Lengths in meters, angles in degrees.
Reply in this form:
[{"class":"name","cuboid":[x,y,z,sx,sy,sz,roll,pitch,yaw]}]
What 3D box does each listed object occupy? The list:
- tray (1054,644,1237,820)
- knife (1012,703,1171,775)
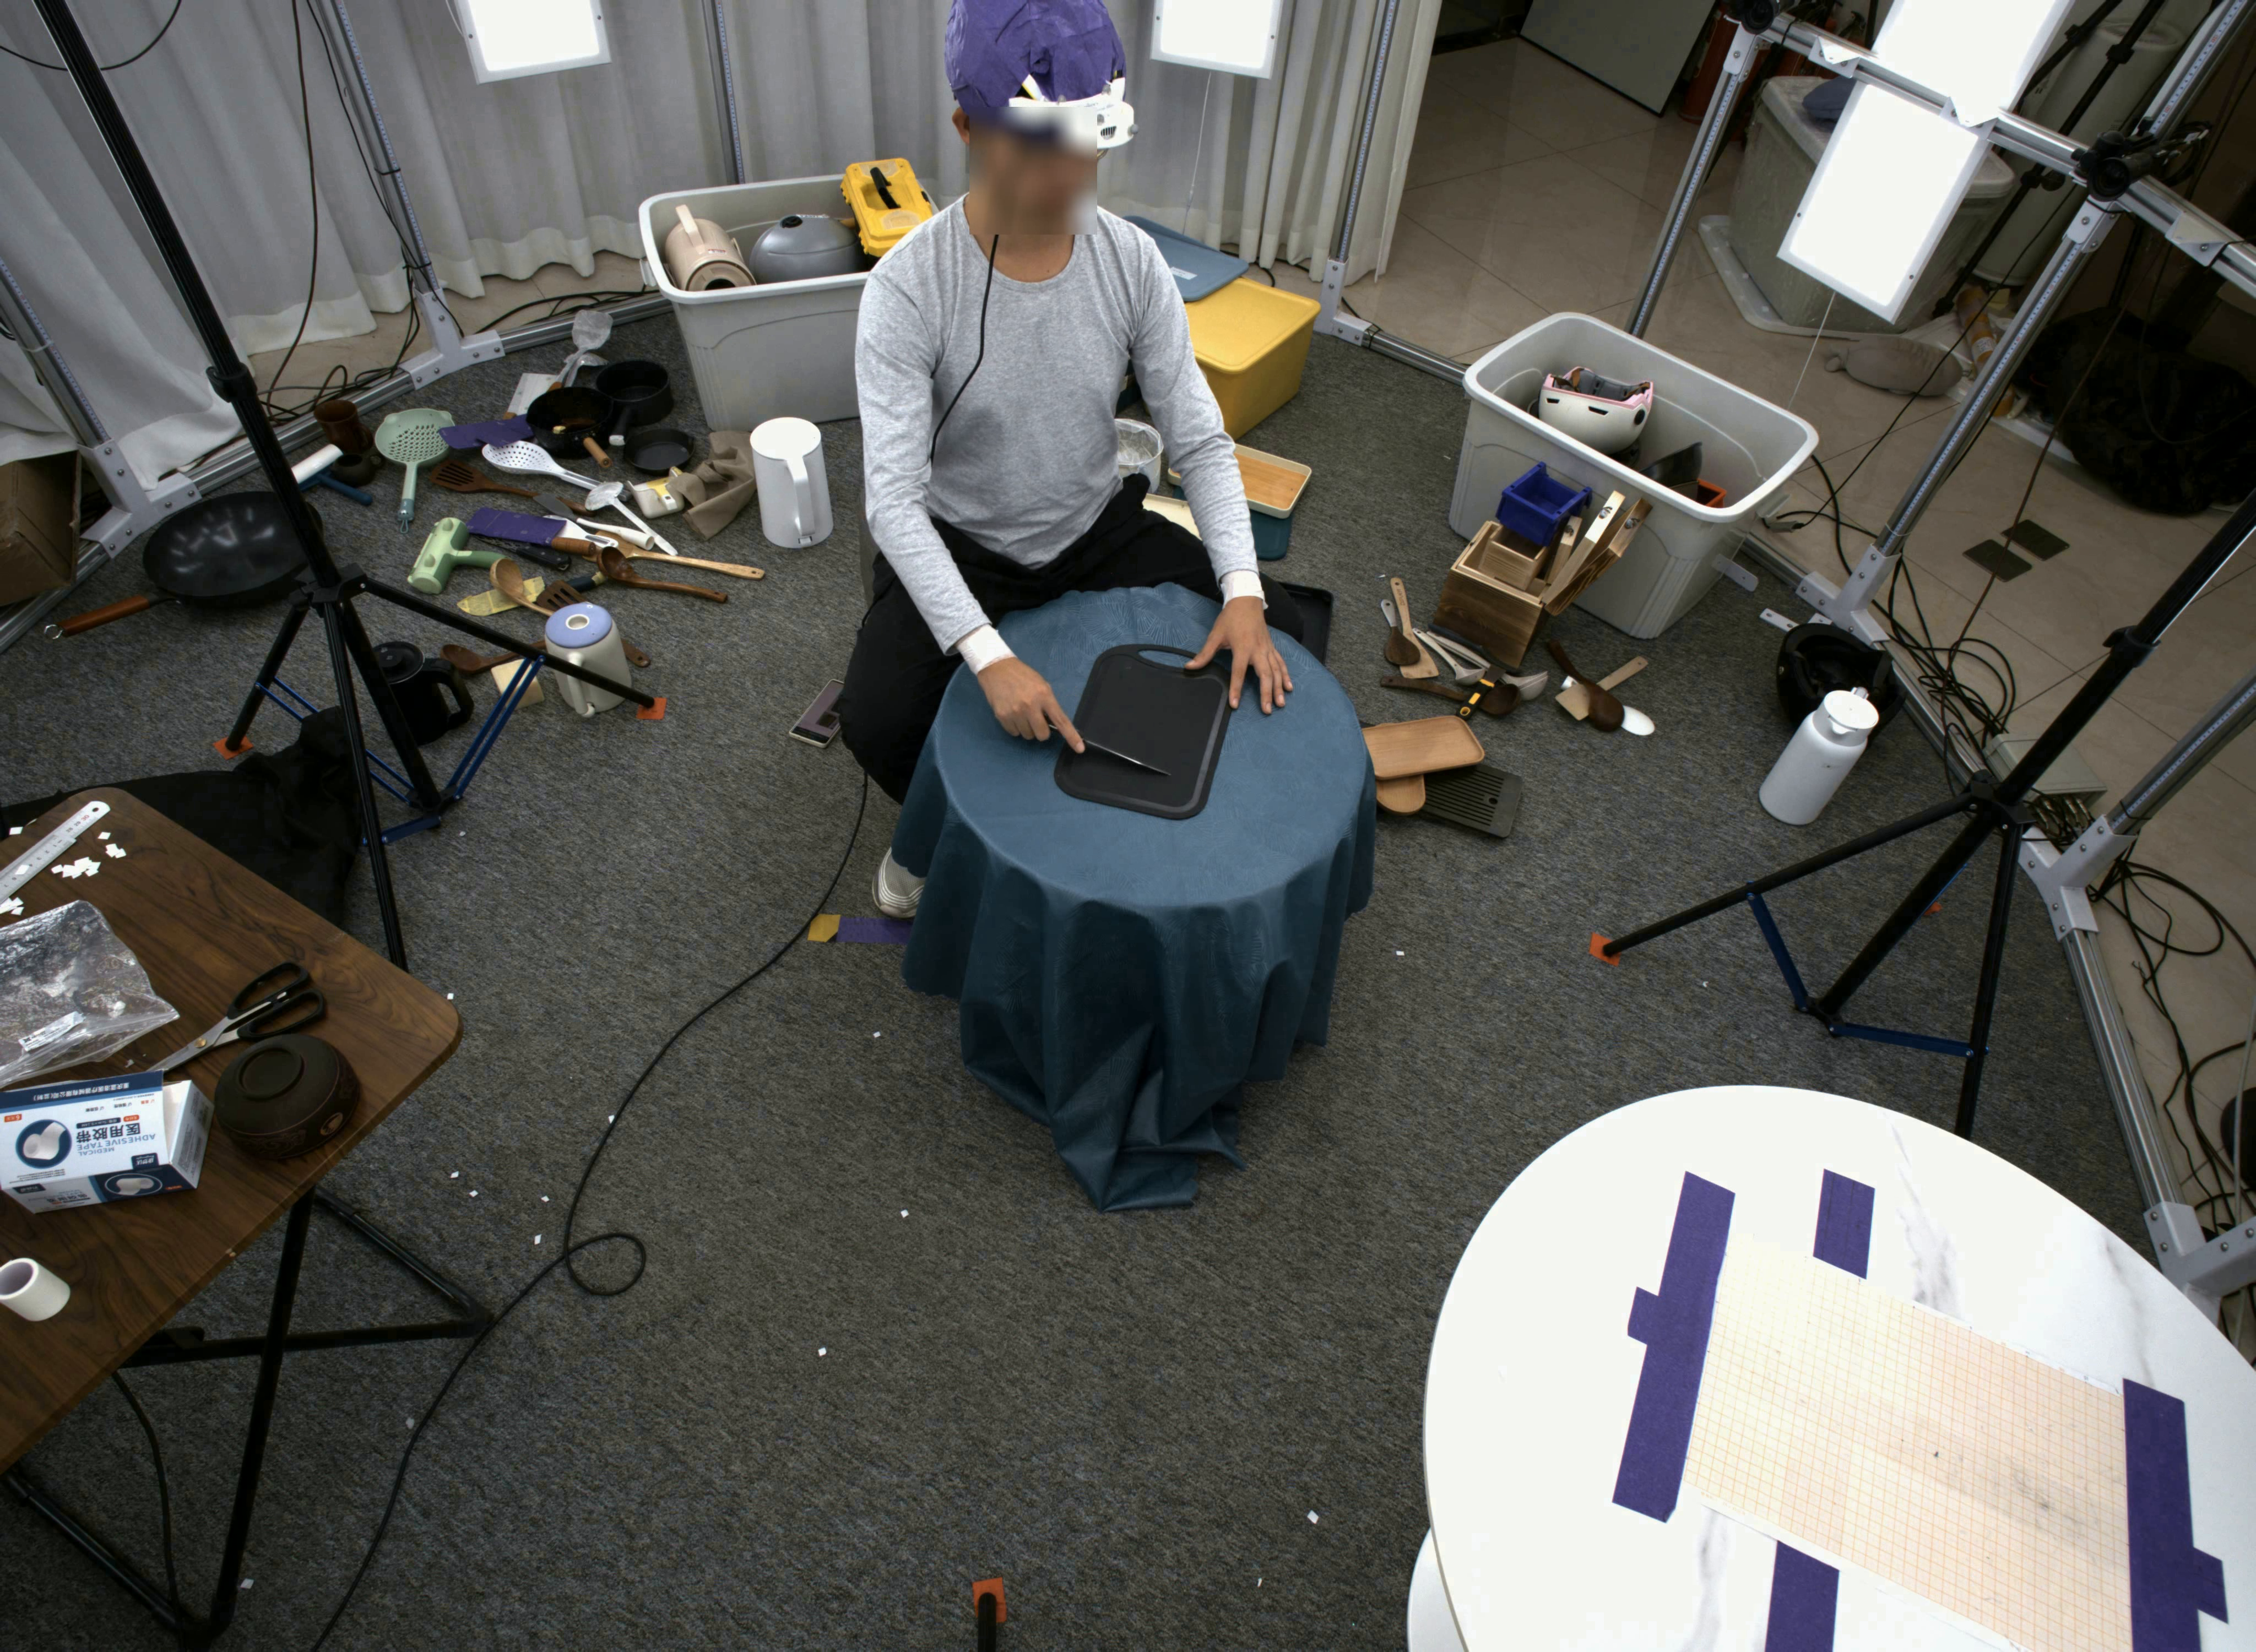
[{"class":"tray","cuboid":[0.031,-0.145,1.791,0.211,0.009,0.332,13,49,7]},{"class":"knife","cuboid":[-0.051,-0.115,1.741,0.238,0.016,0.025,23,20,5]}]
